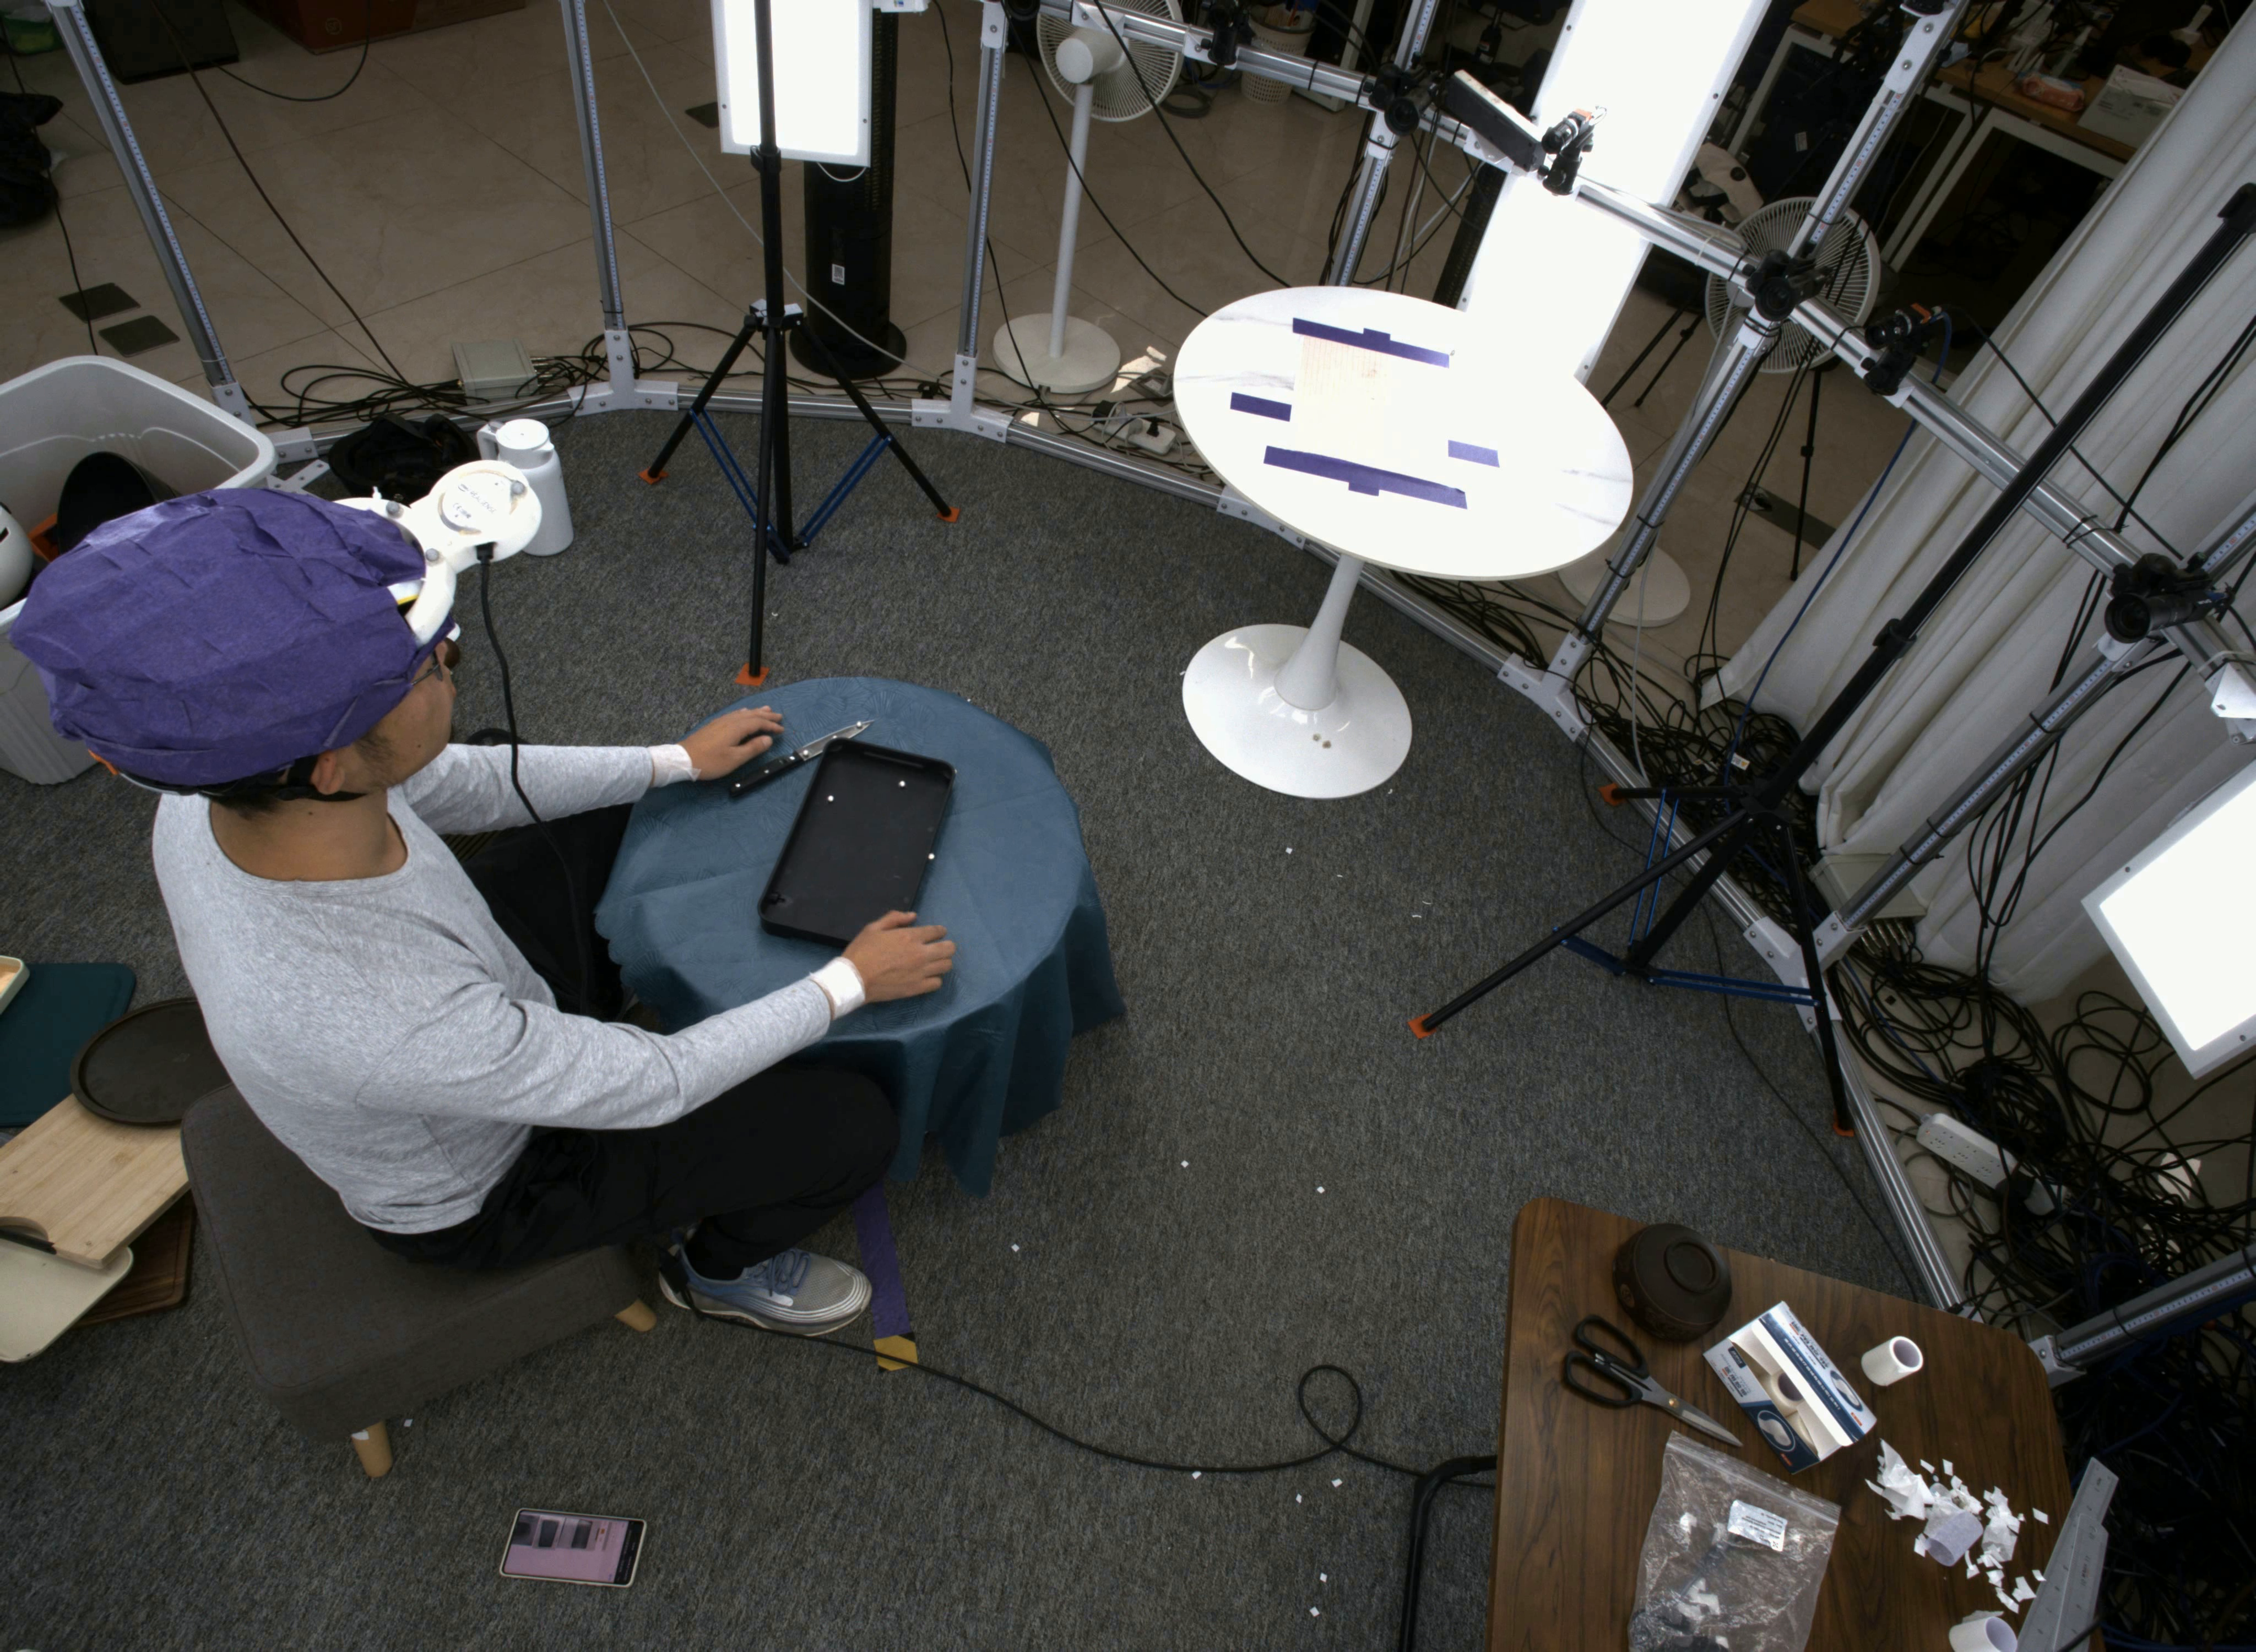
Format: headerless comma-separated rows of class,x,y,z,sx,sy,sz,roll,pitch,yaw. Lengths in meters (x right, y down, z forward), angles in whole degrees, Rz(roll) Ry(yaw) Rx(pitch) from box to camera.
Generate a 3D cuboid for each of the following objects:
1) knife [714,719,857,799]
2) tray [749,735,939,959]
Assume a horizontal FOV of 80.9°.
knife,-0.467,-0.096,1.788,0.024,0.016,0.239,41,52,20
tray,-0.368,0.021,1.711,0.183,0.038,0.313,12,53,-5
